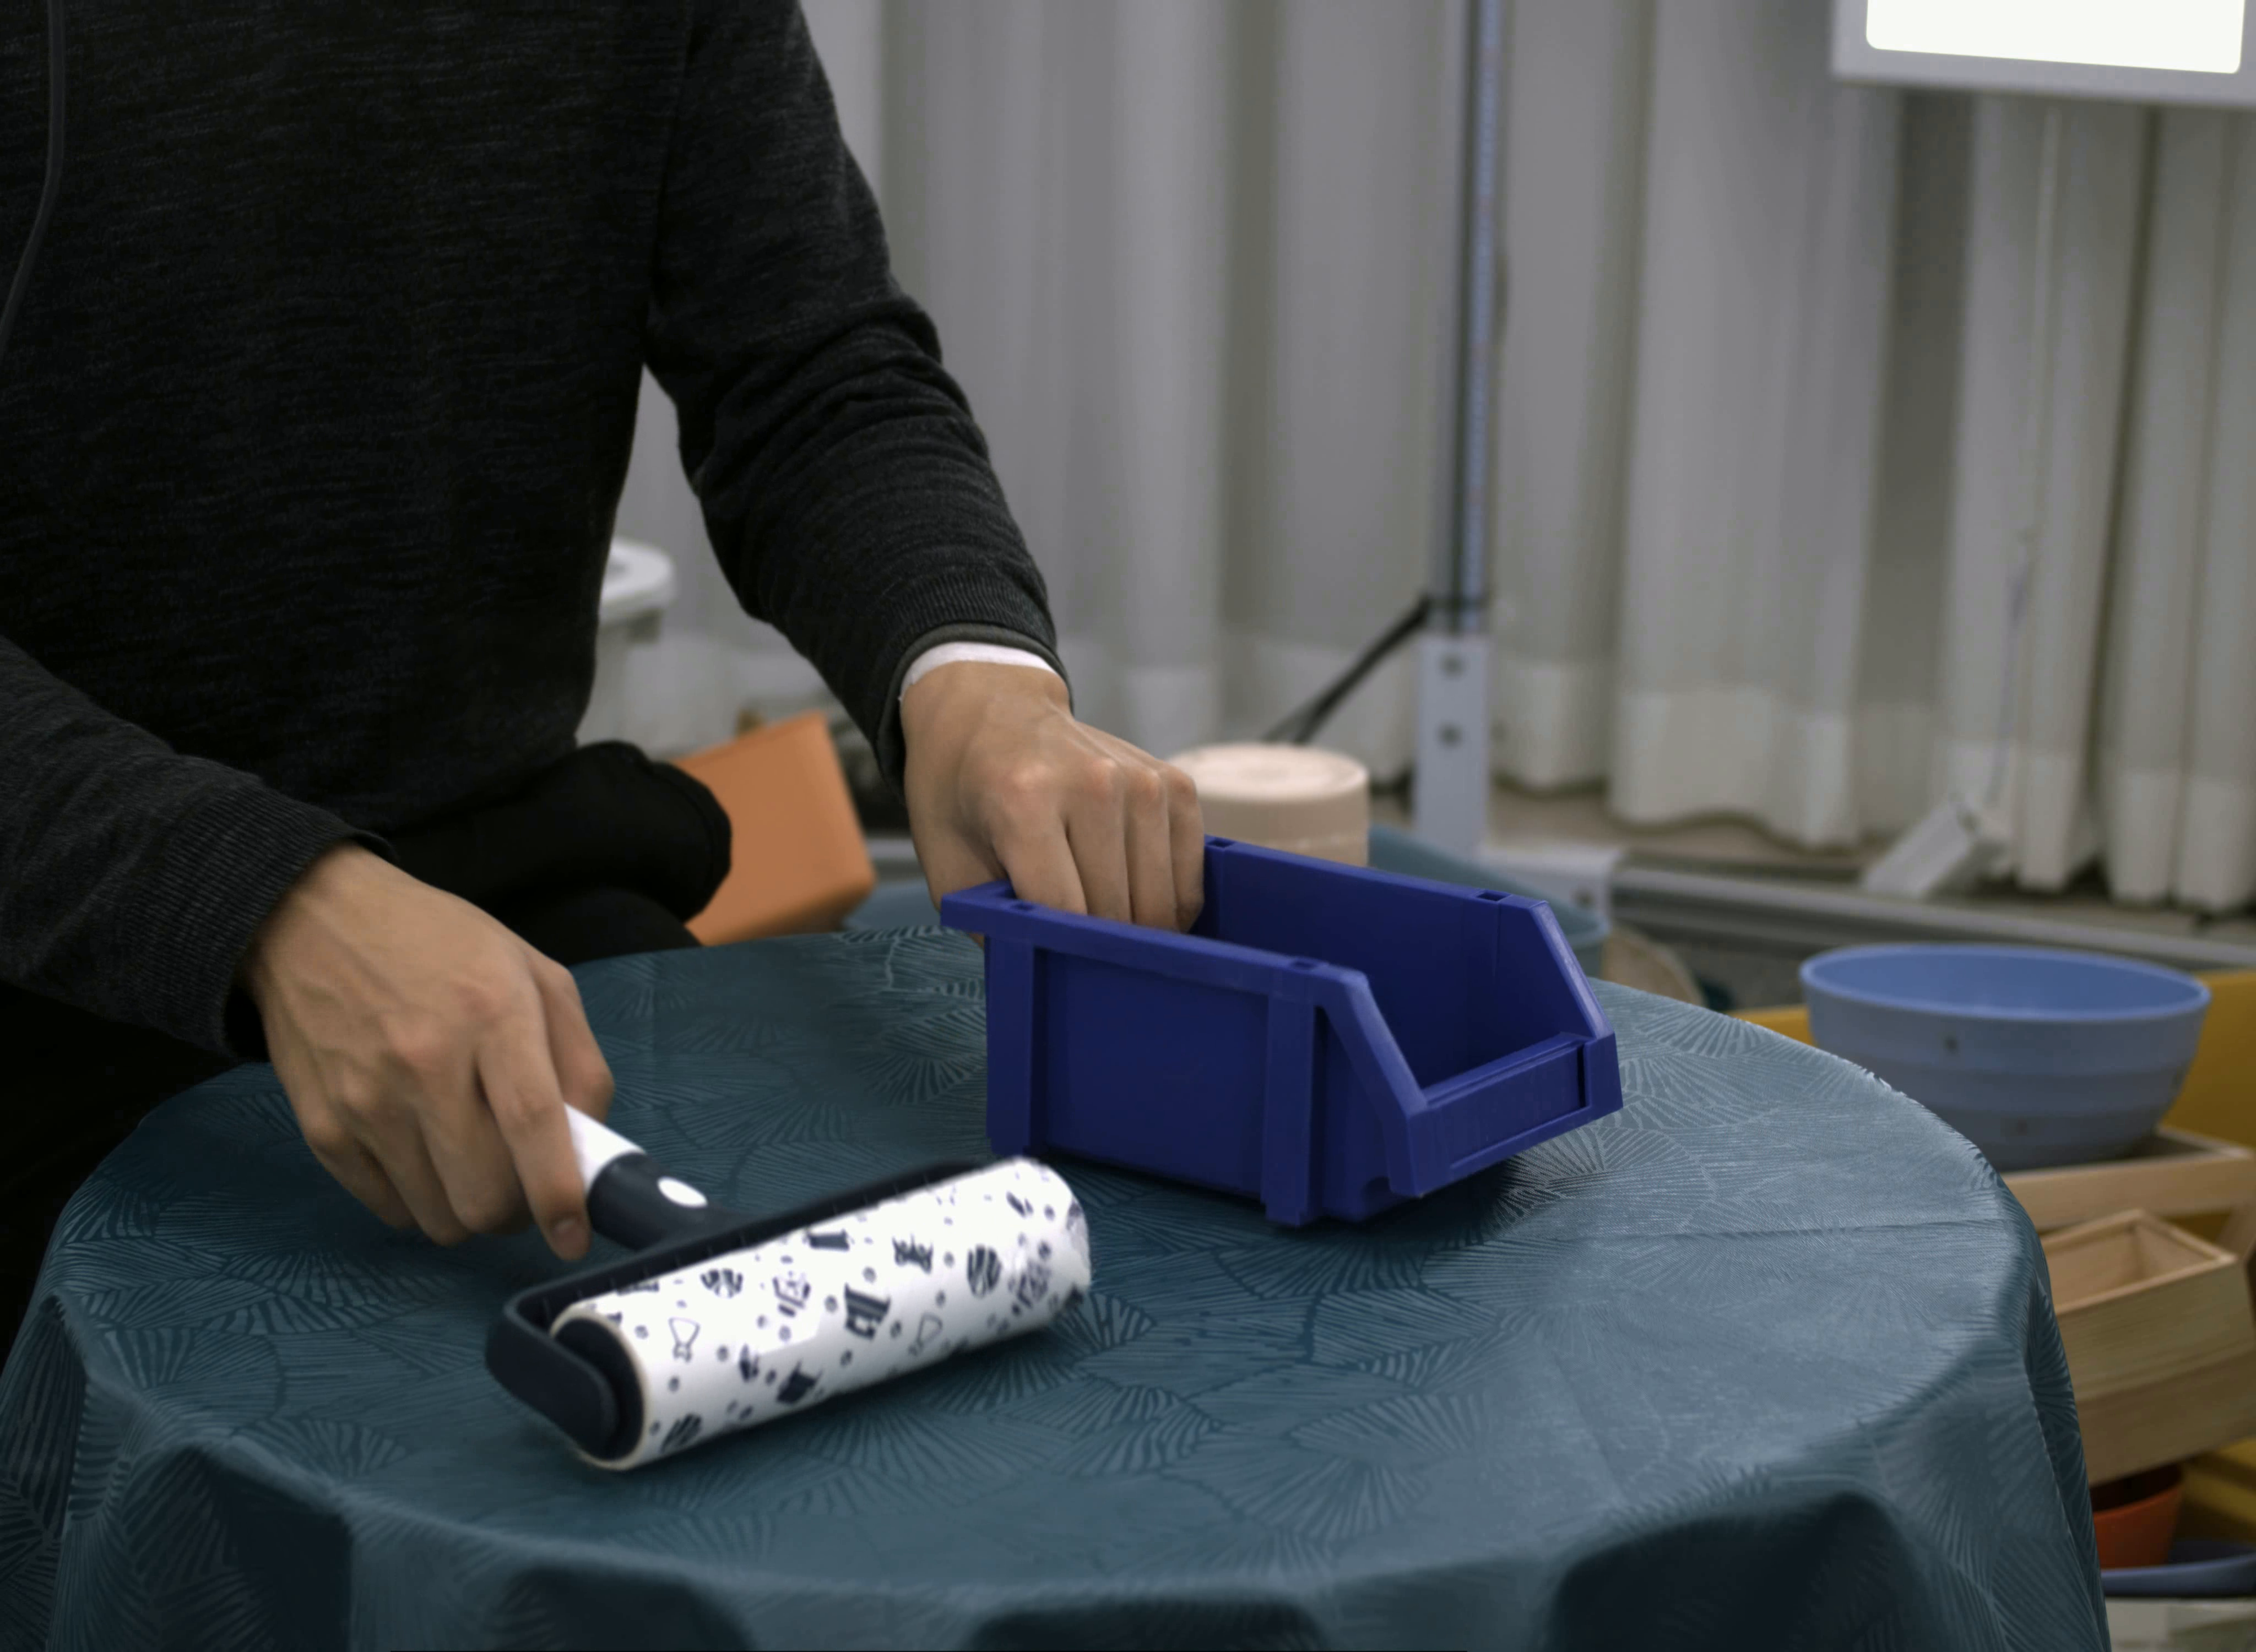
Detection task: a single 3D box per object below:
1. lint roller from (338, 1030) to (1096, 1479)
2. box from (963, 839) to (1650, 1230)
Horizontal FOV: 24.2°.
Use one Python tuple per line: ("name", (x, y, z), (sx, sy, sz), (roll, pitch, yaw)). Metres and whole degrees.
("lint roller", (-0.151, 0.103, 1.508), (0.177, 0.051, 0.243), (-16, 31, -41))
("box", (0.057, 0.065, 1.637), (0.177, 0.082, 0.125), (9, 16, 35))
